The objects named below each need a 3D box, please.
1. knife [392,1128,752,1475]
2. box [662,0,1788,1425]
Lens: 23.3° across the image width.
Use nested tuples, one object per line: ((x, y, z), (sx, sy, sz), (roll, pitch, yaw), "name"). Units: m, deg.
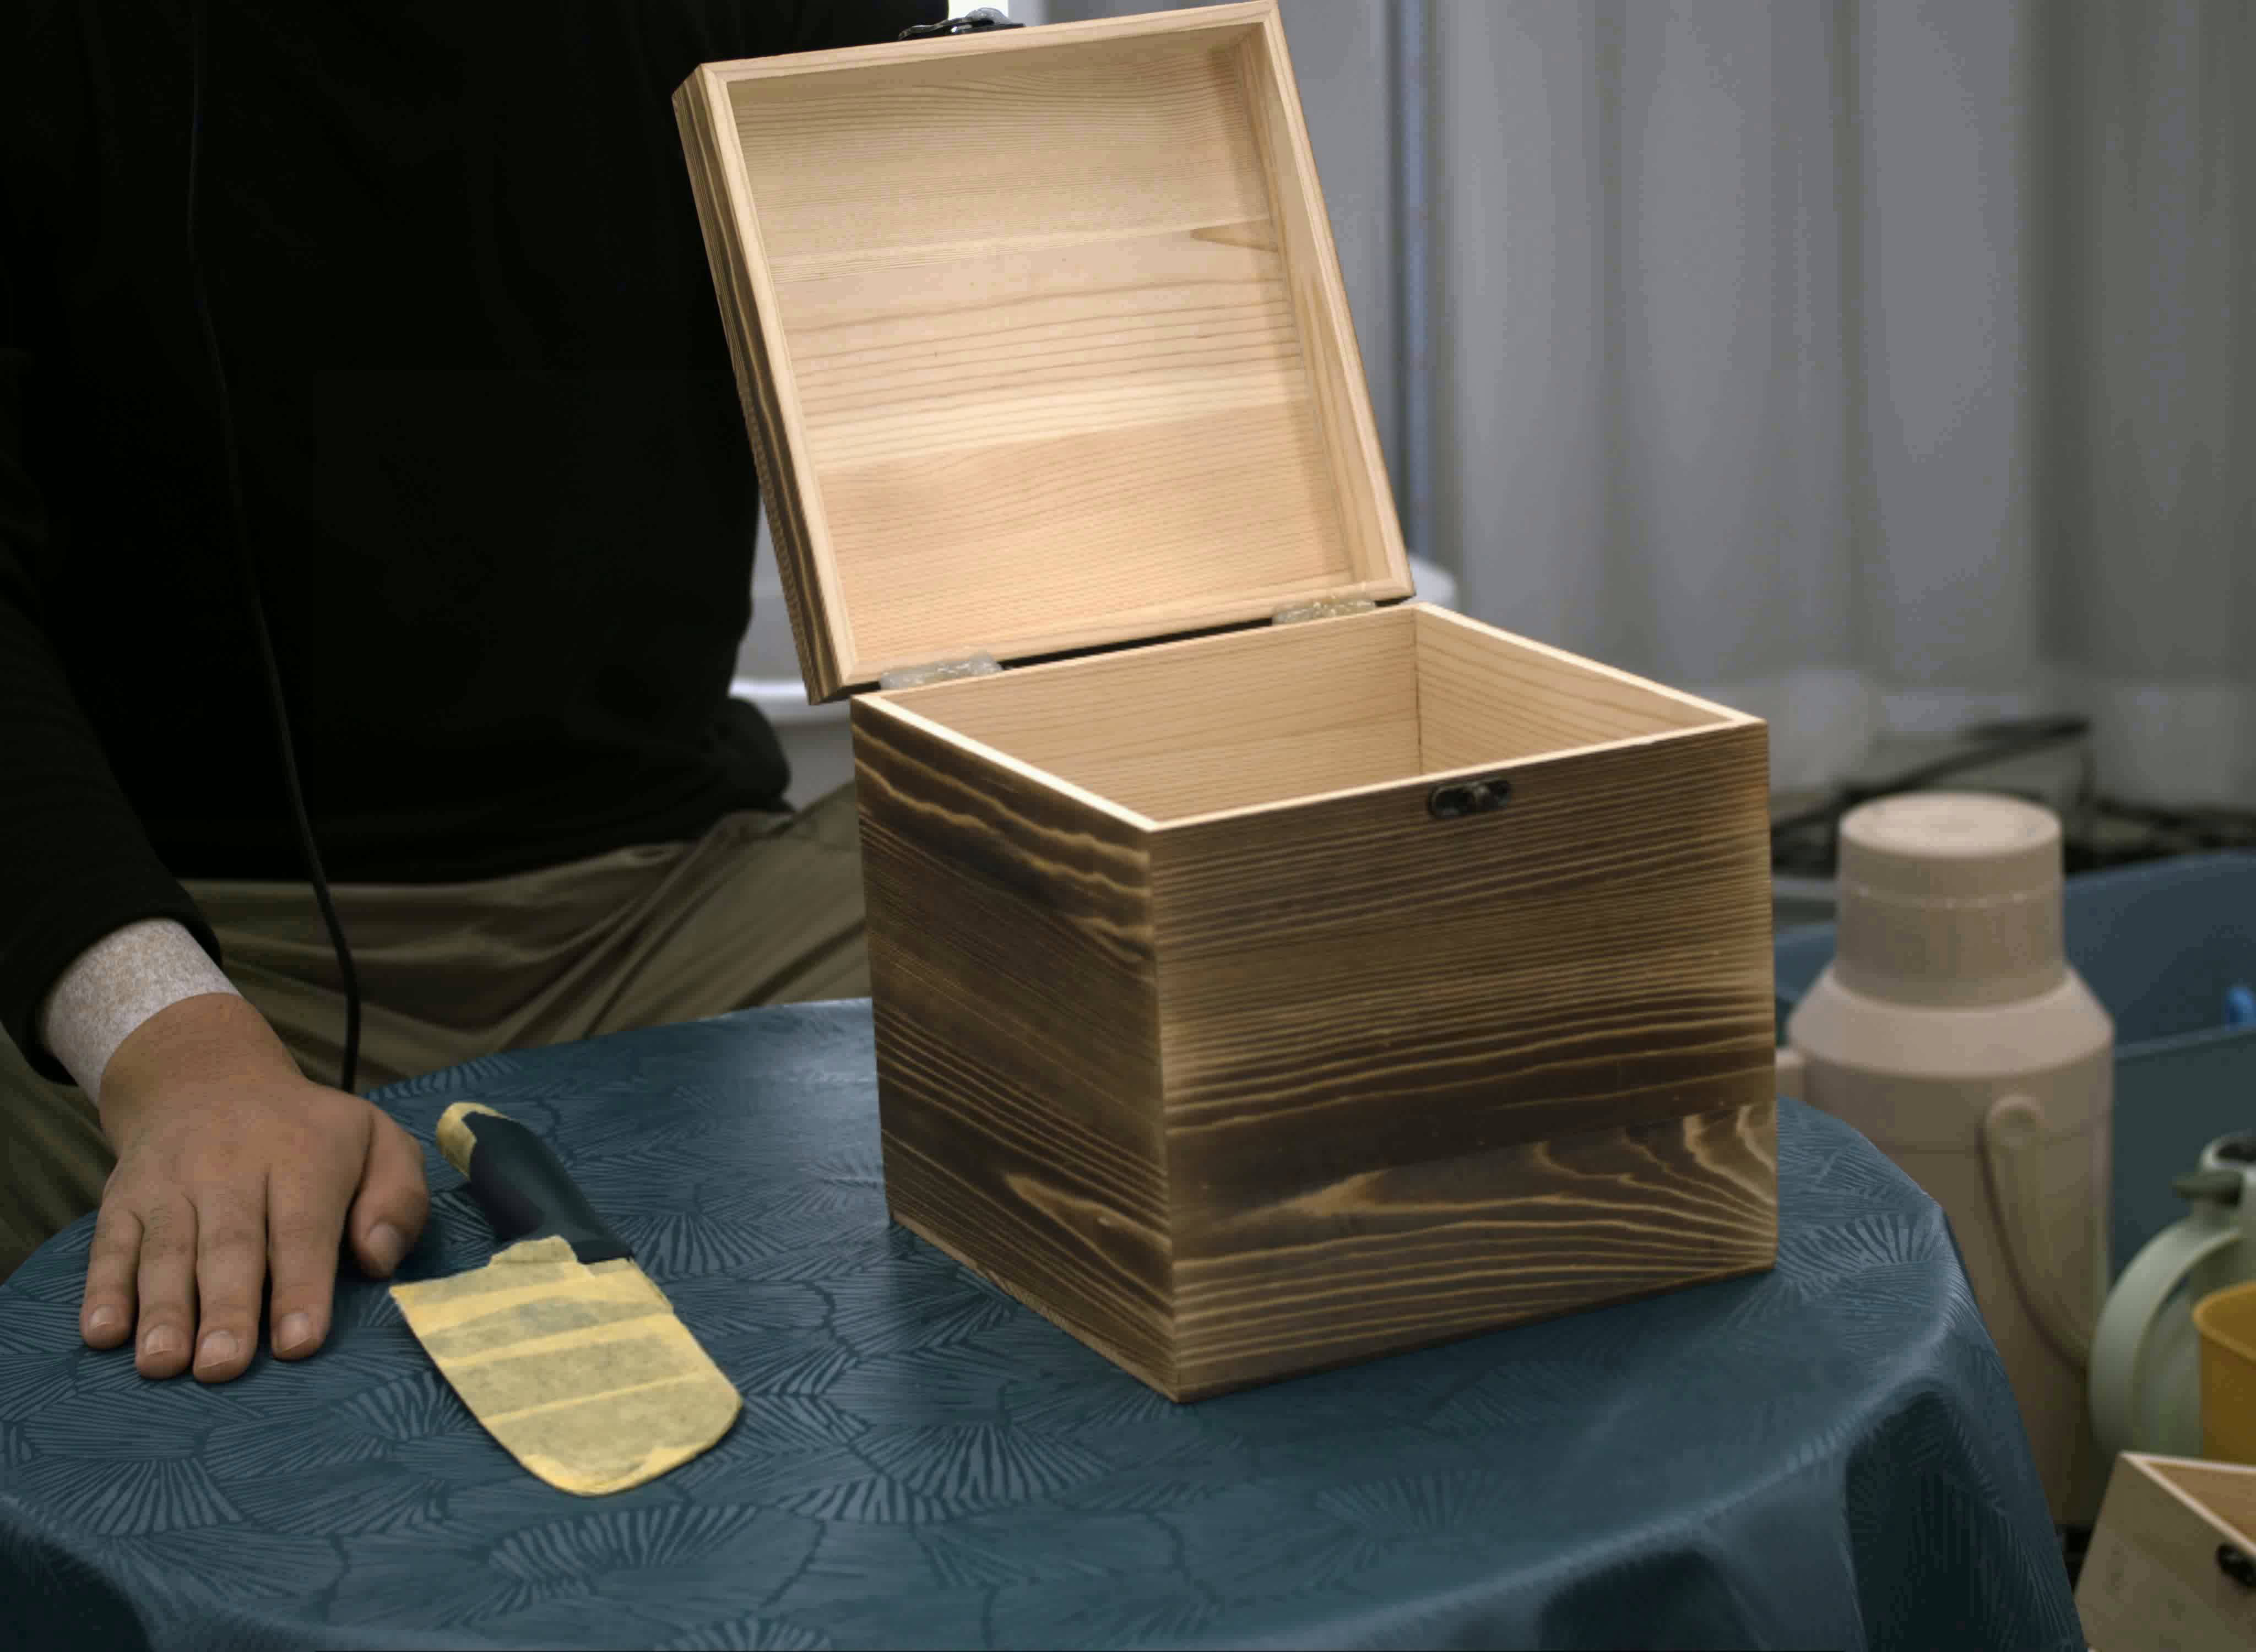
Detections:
((-0.175, 0.141, 1.623), (0.080, 0.027, 0.292), (-5, 15, -17), "knife")
((0.024, -0.057, 1.660), (0.208, 0.374, 0.324), (-11, 15, -25), "box")
